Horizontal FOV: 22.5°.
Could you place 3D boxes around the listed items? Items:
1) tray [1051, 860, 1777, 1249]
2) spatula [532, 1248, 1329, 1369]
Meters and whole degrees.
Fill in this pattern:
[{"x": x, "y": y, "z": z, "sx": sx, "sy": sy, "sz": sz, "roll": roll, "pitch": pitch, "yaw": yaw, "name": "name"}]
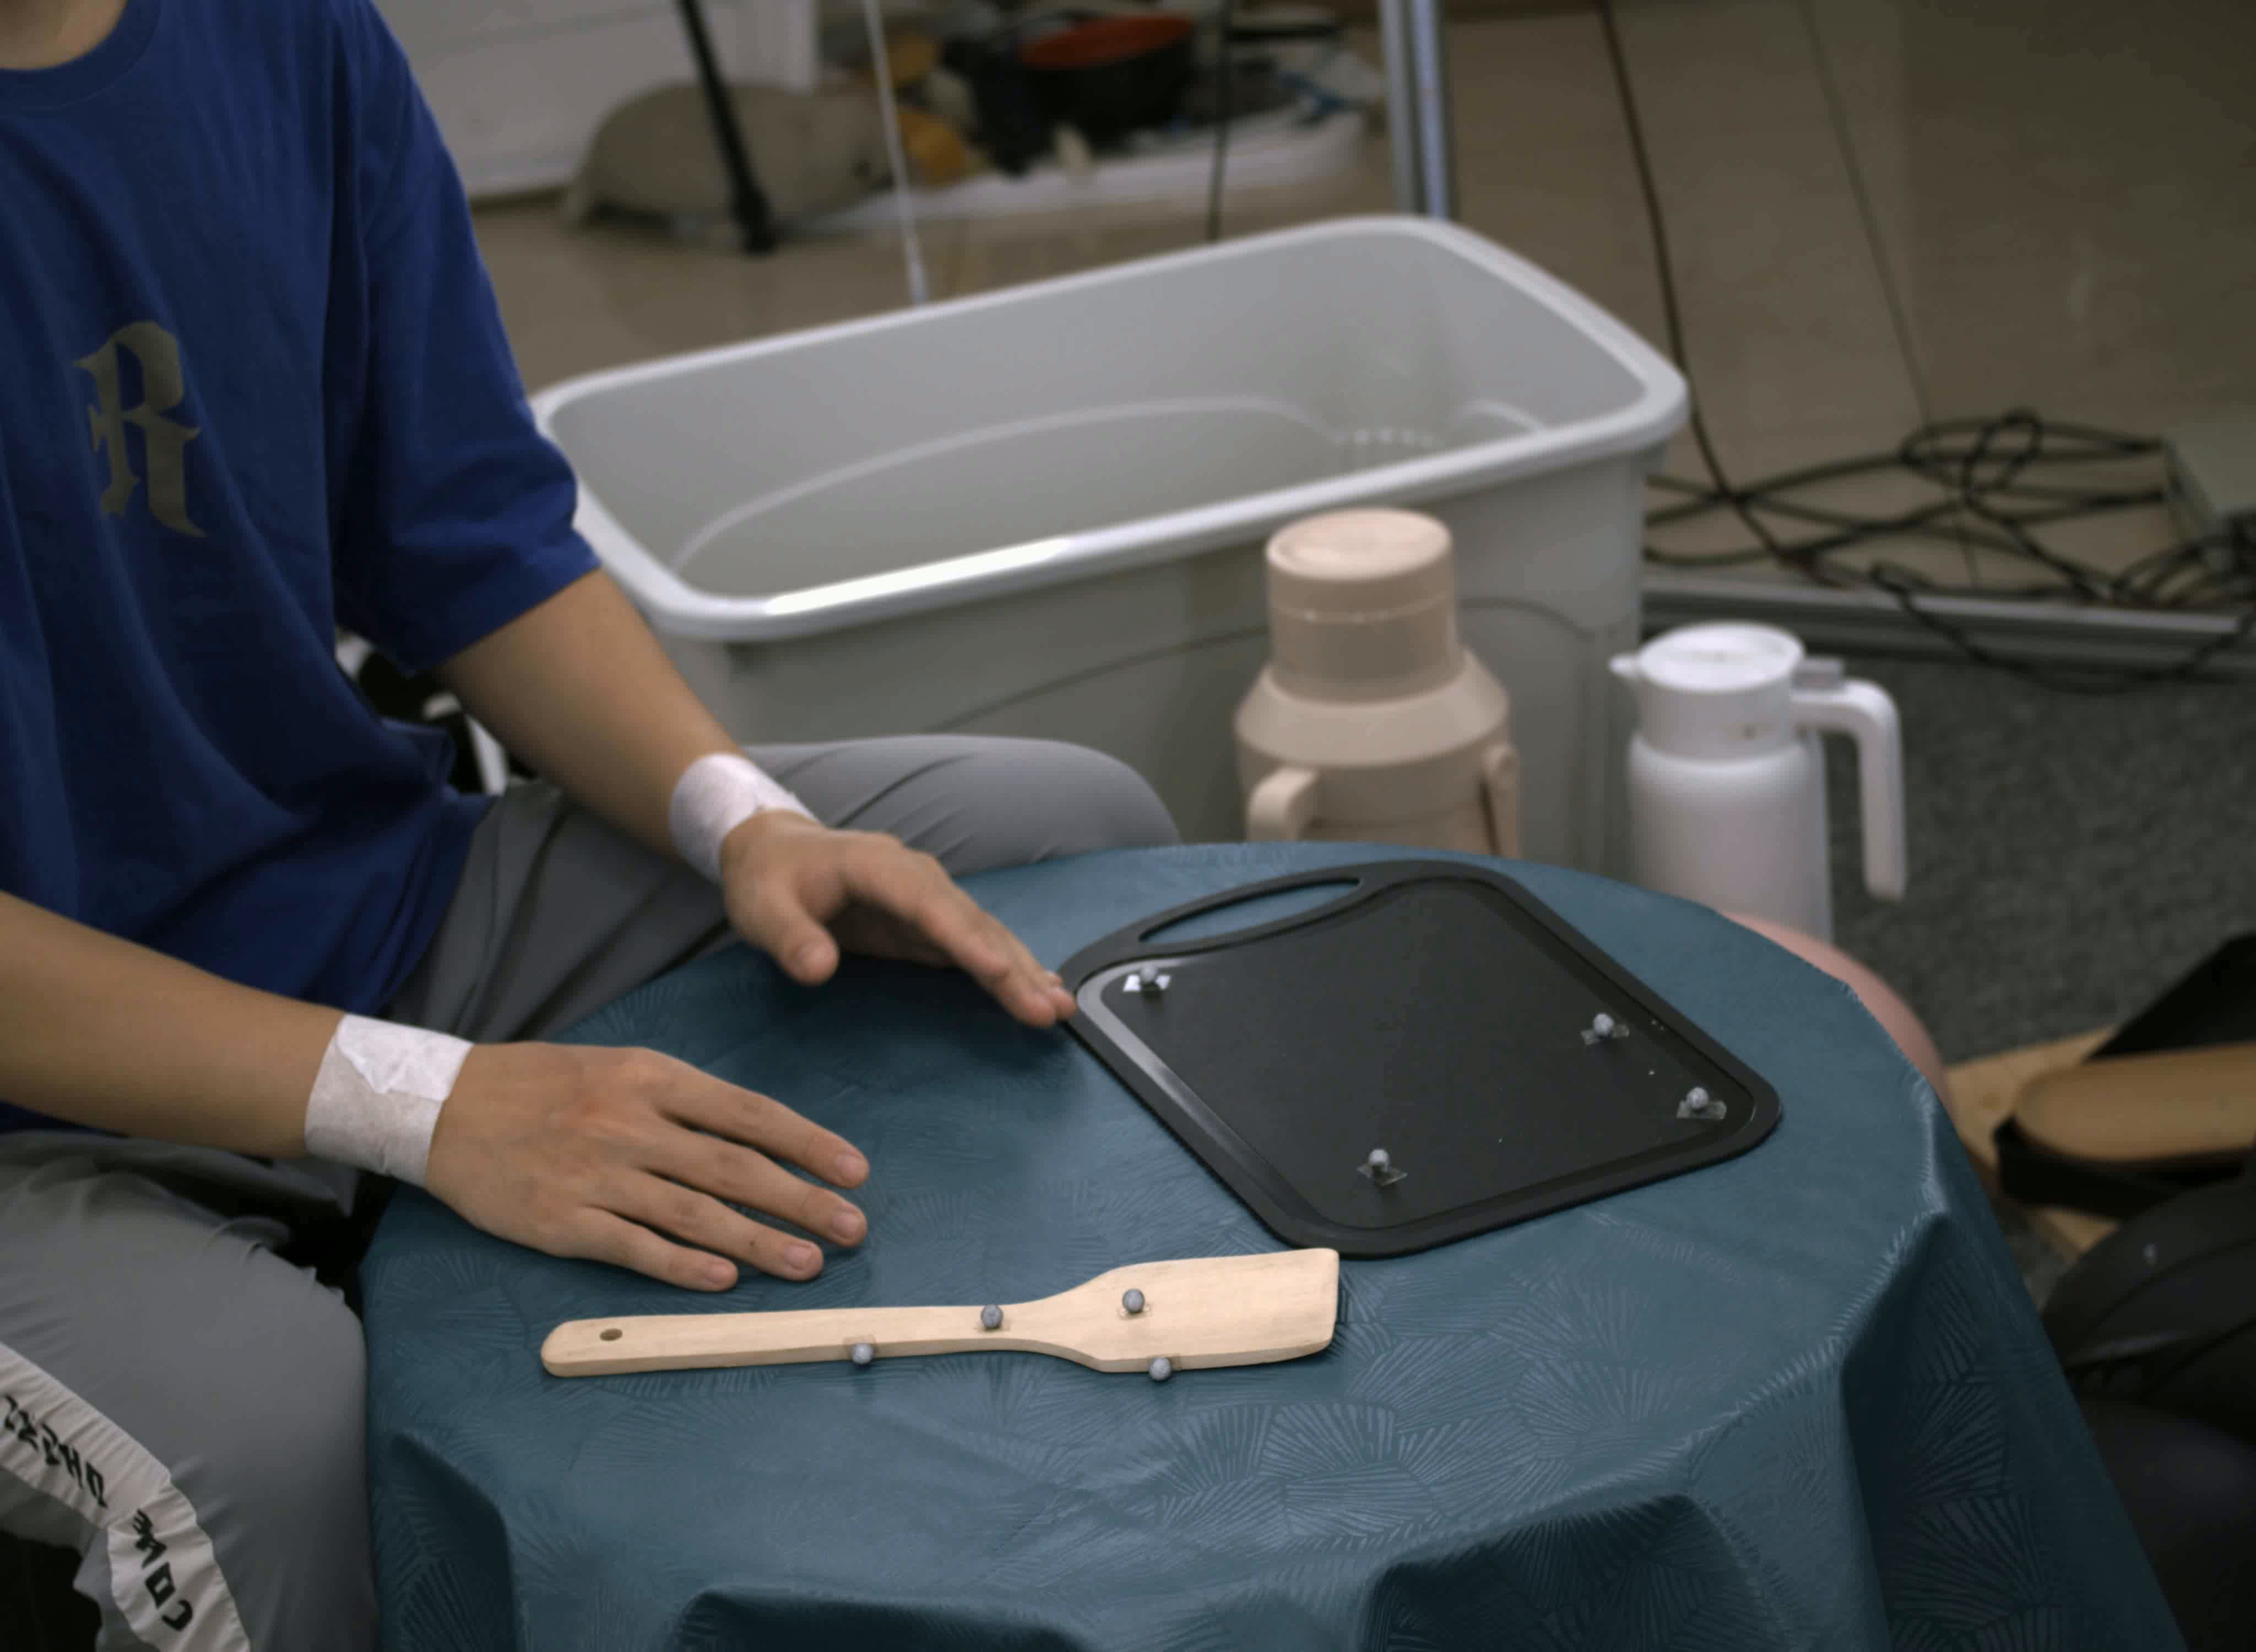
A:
[{"x": 0.103, "y": 0.082, "z": 2.236, "sx": 0.210, "sy": 0.010, "sz": 0.321, "roll": -15, "pitch": 26, "yaw": -17, "name": "tray"}, {"x": -0.073, "y": 0.182, "z": 2.062, "sx": 0.292, "sy": 0.011, "sz": 0.071, "roll": -4, "pitch": 26, "yaw": 6, "name": "spatula"}]
